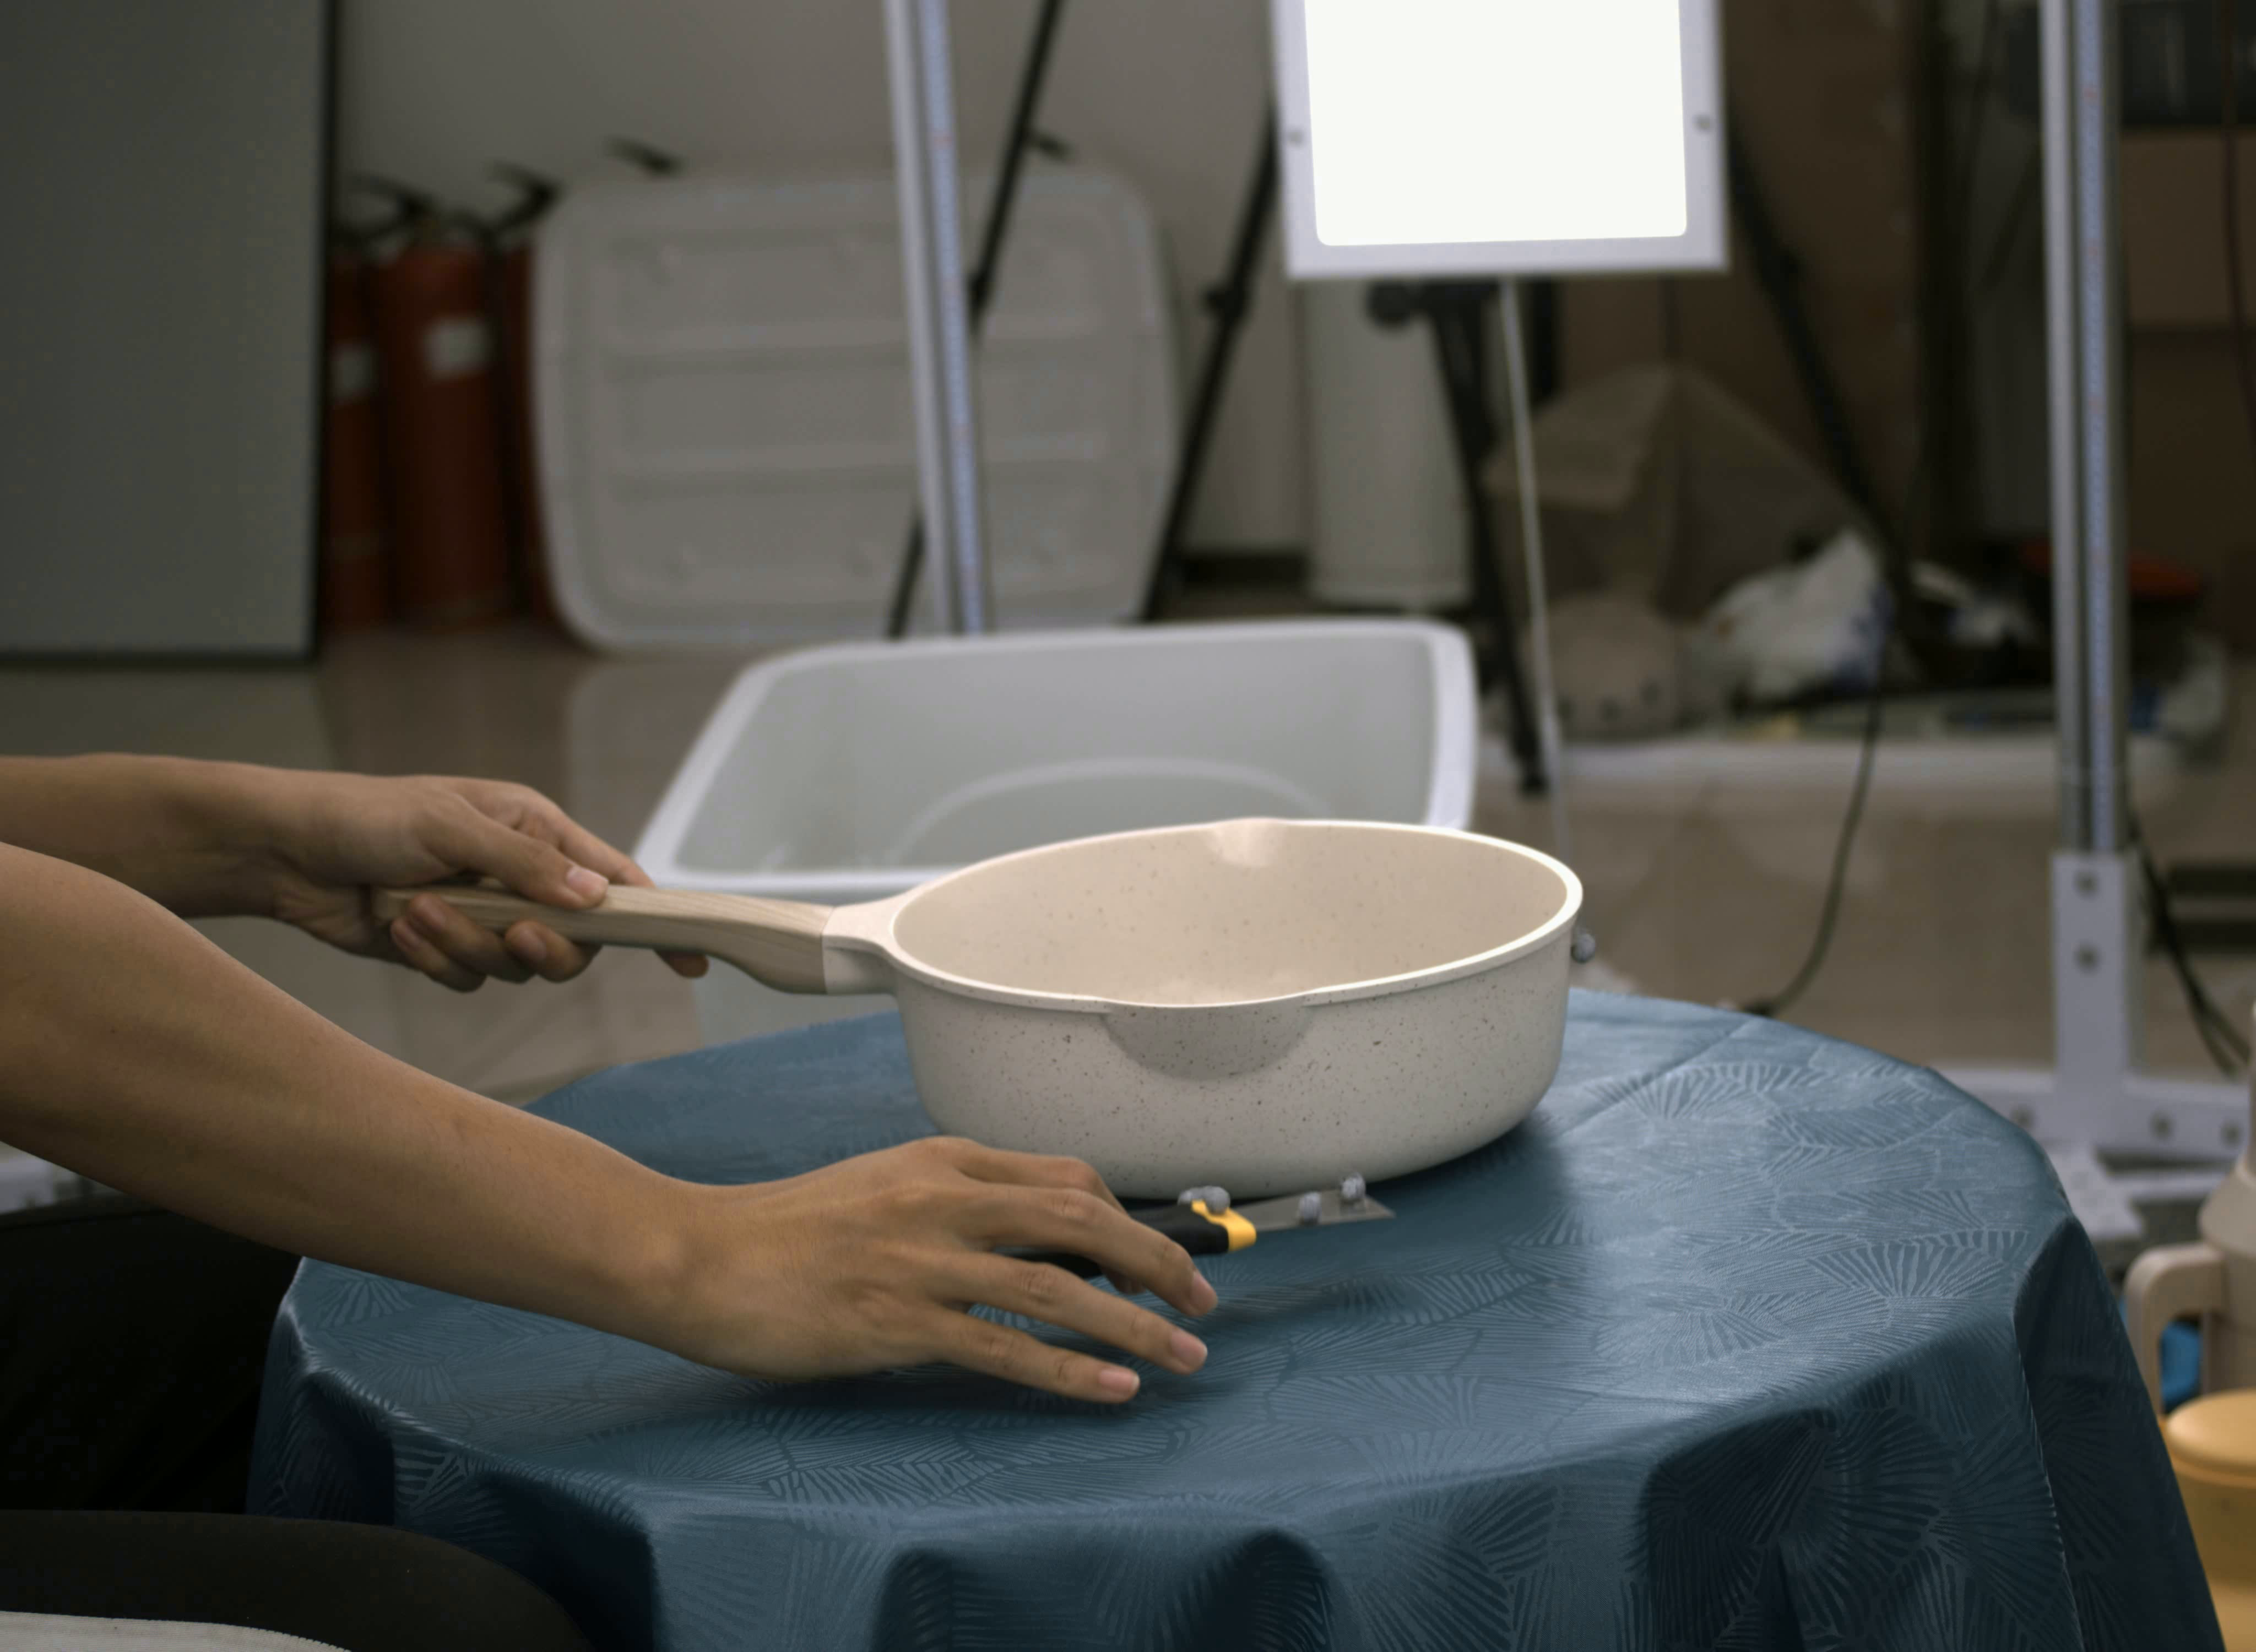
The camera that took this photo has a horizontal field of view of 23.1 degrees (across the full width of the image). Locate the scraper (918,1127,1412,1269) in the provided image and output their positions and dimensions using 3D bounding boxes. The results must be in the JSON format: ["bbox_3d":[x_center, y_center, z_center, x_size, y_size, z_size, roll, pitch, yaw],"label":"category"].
[{"bbox_3d":[0.011,0.118,1.756,0.167,0.015,0.039,-9,23,-24],"label":"scraper"}]

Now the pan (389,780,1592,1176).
[{"bbox_3d":[-0.048,0.055,1.988,0.436,0.102,0.261,-3,16,7],"label":"pan"}]
